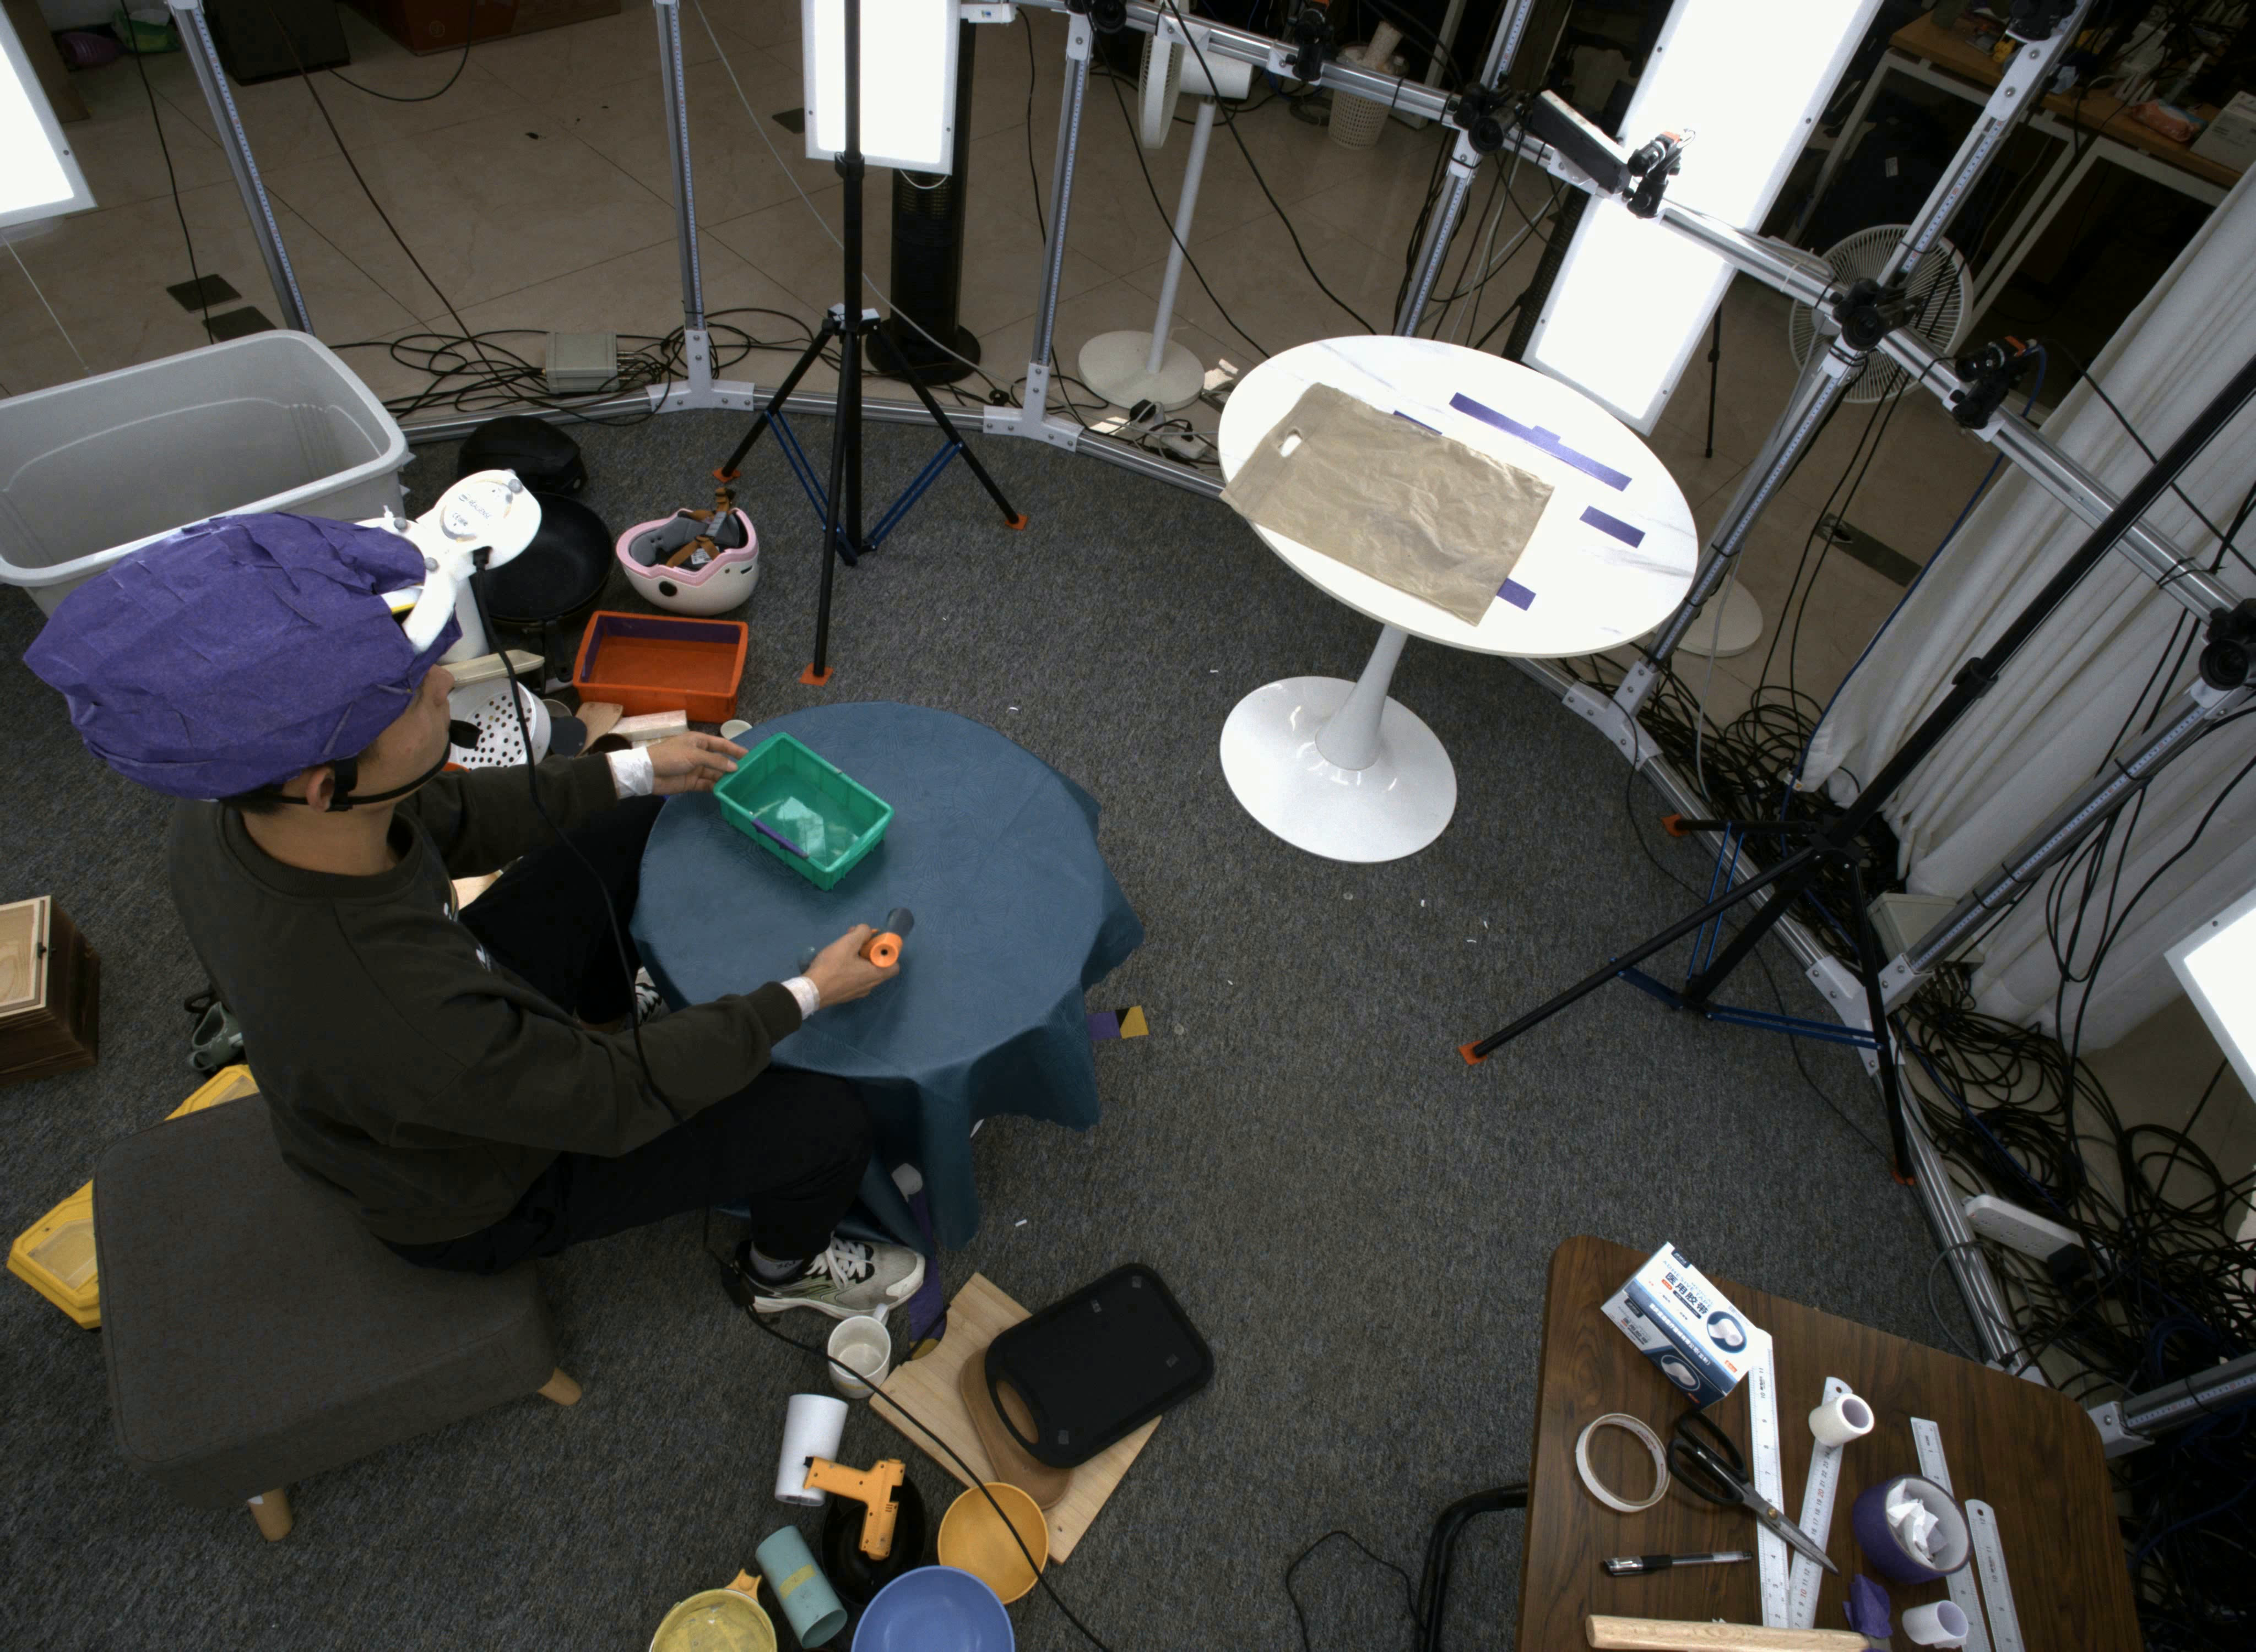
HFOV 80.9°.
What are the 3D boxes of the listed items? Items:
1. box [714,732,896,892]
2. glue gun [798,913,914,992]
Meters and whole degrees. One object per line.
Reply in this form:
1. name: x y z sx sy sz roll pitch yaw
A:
1. box: -0.419 -0.016 1.688 0.208 0.066 0.138 34 54 7
2. glue gun: -0.322 0.146 1.557 0.139 0.115 0.042 -19 105 -9
